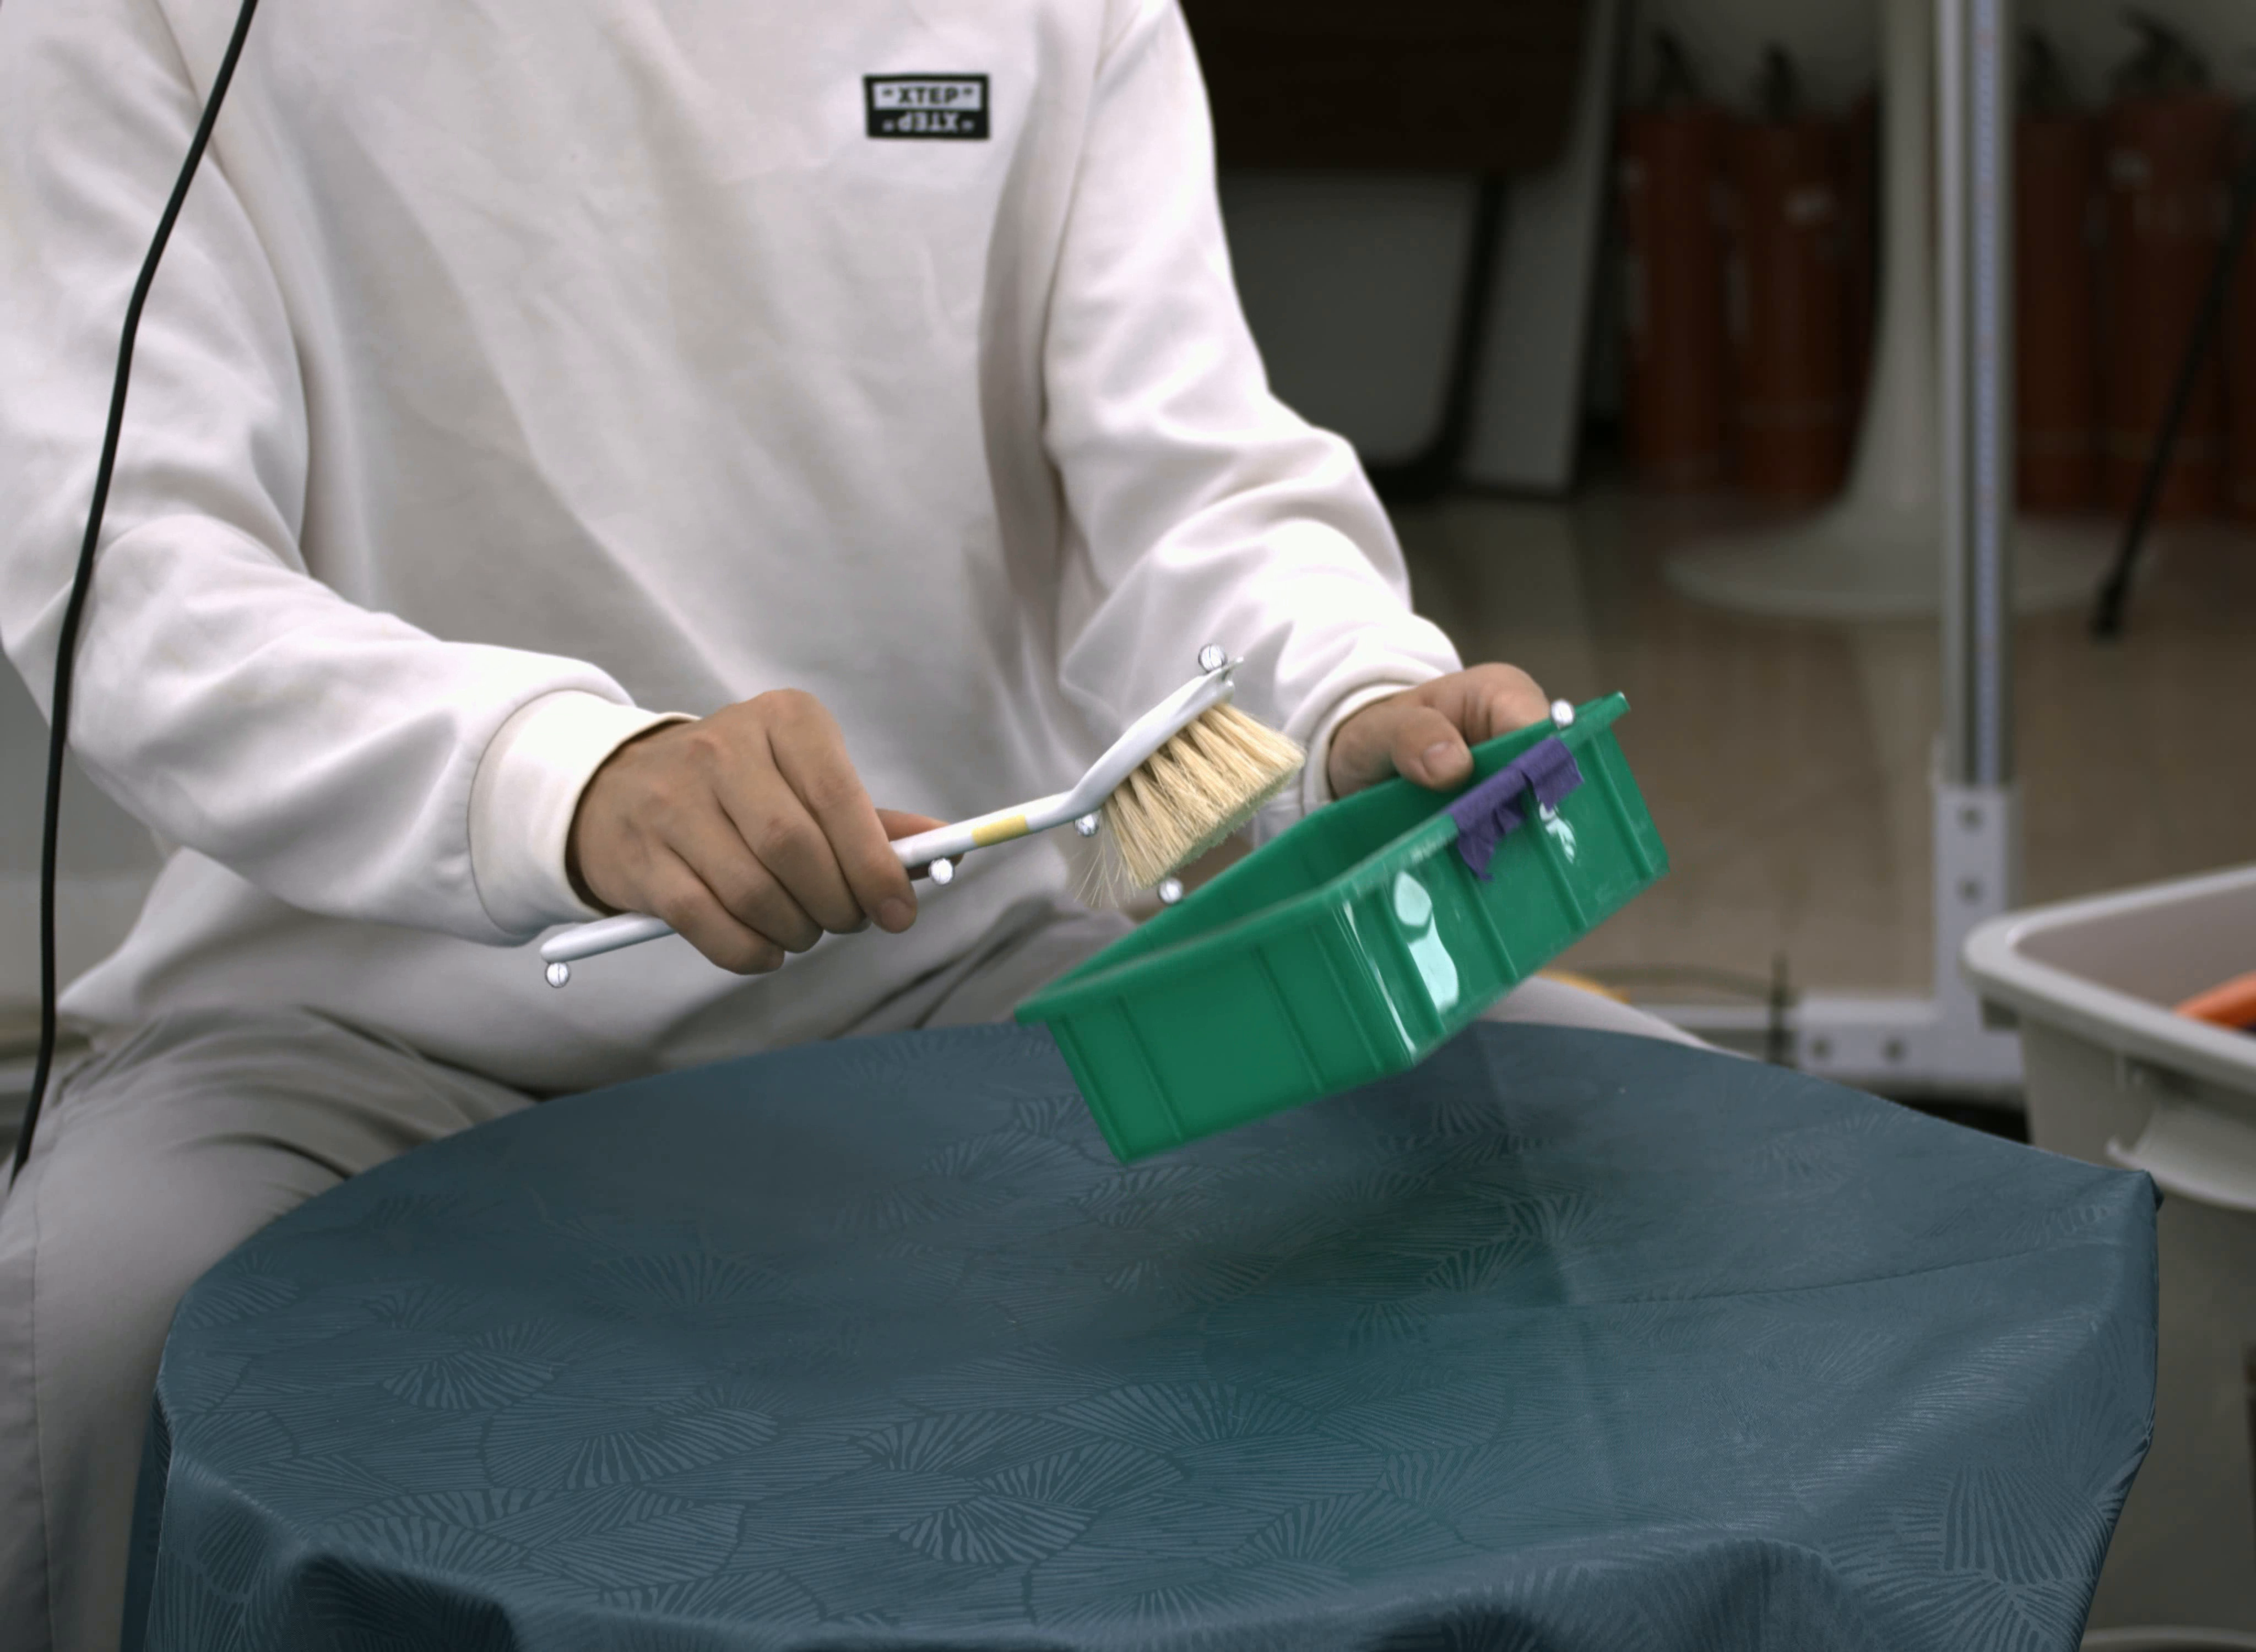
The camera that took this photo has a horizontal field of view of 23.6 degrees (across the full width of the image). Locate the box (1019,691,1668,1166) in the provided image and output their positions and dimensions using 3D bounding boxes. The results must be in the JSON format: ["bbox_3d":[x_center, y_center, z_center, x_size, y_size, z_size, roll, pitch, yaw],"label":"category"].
[{"bbox_3d":[0.075,0.034,1.701,0.139,0.066,0.207,-22,5,37],"label":"box"}]

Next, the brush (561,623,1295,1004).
[{"bbox_3d":[-0.062,0.019,1.673,0.267,0.057,0.067,-28,-14,25],"label":"brush"}]
